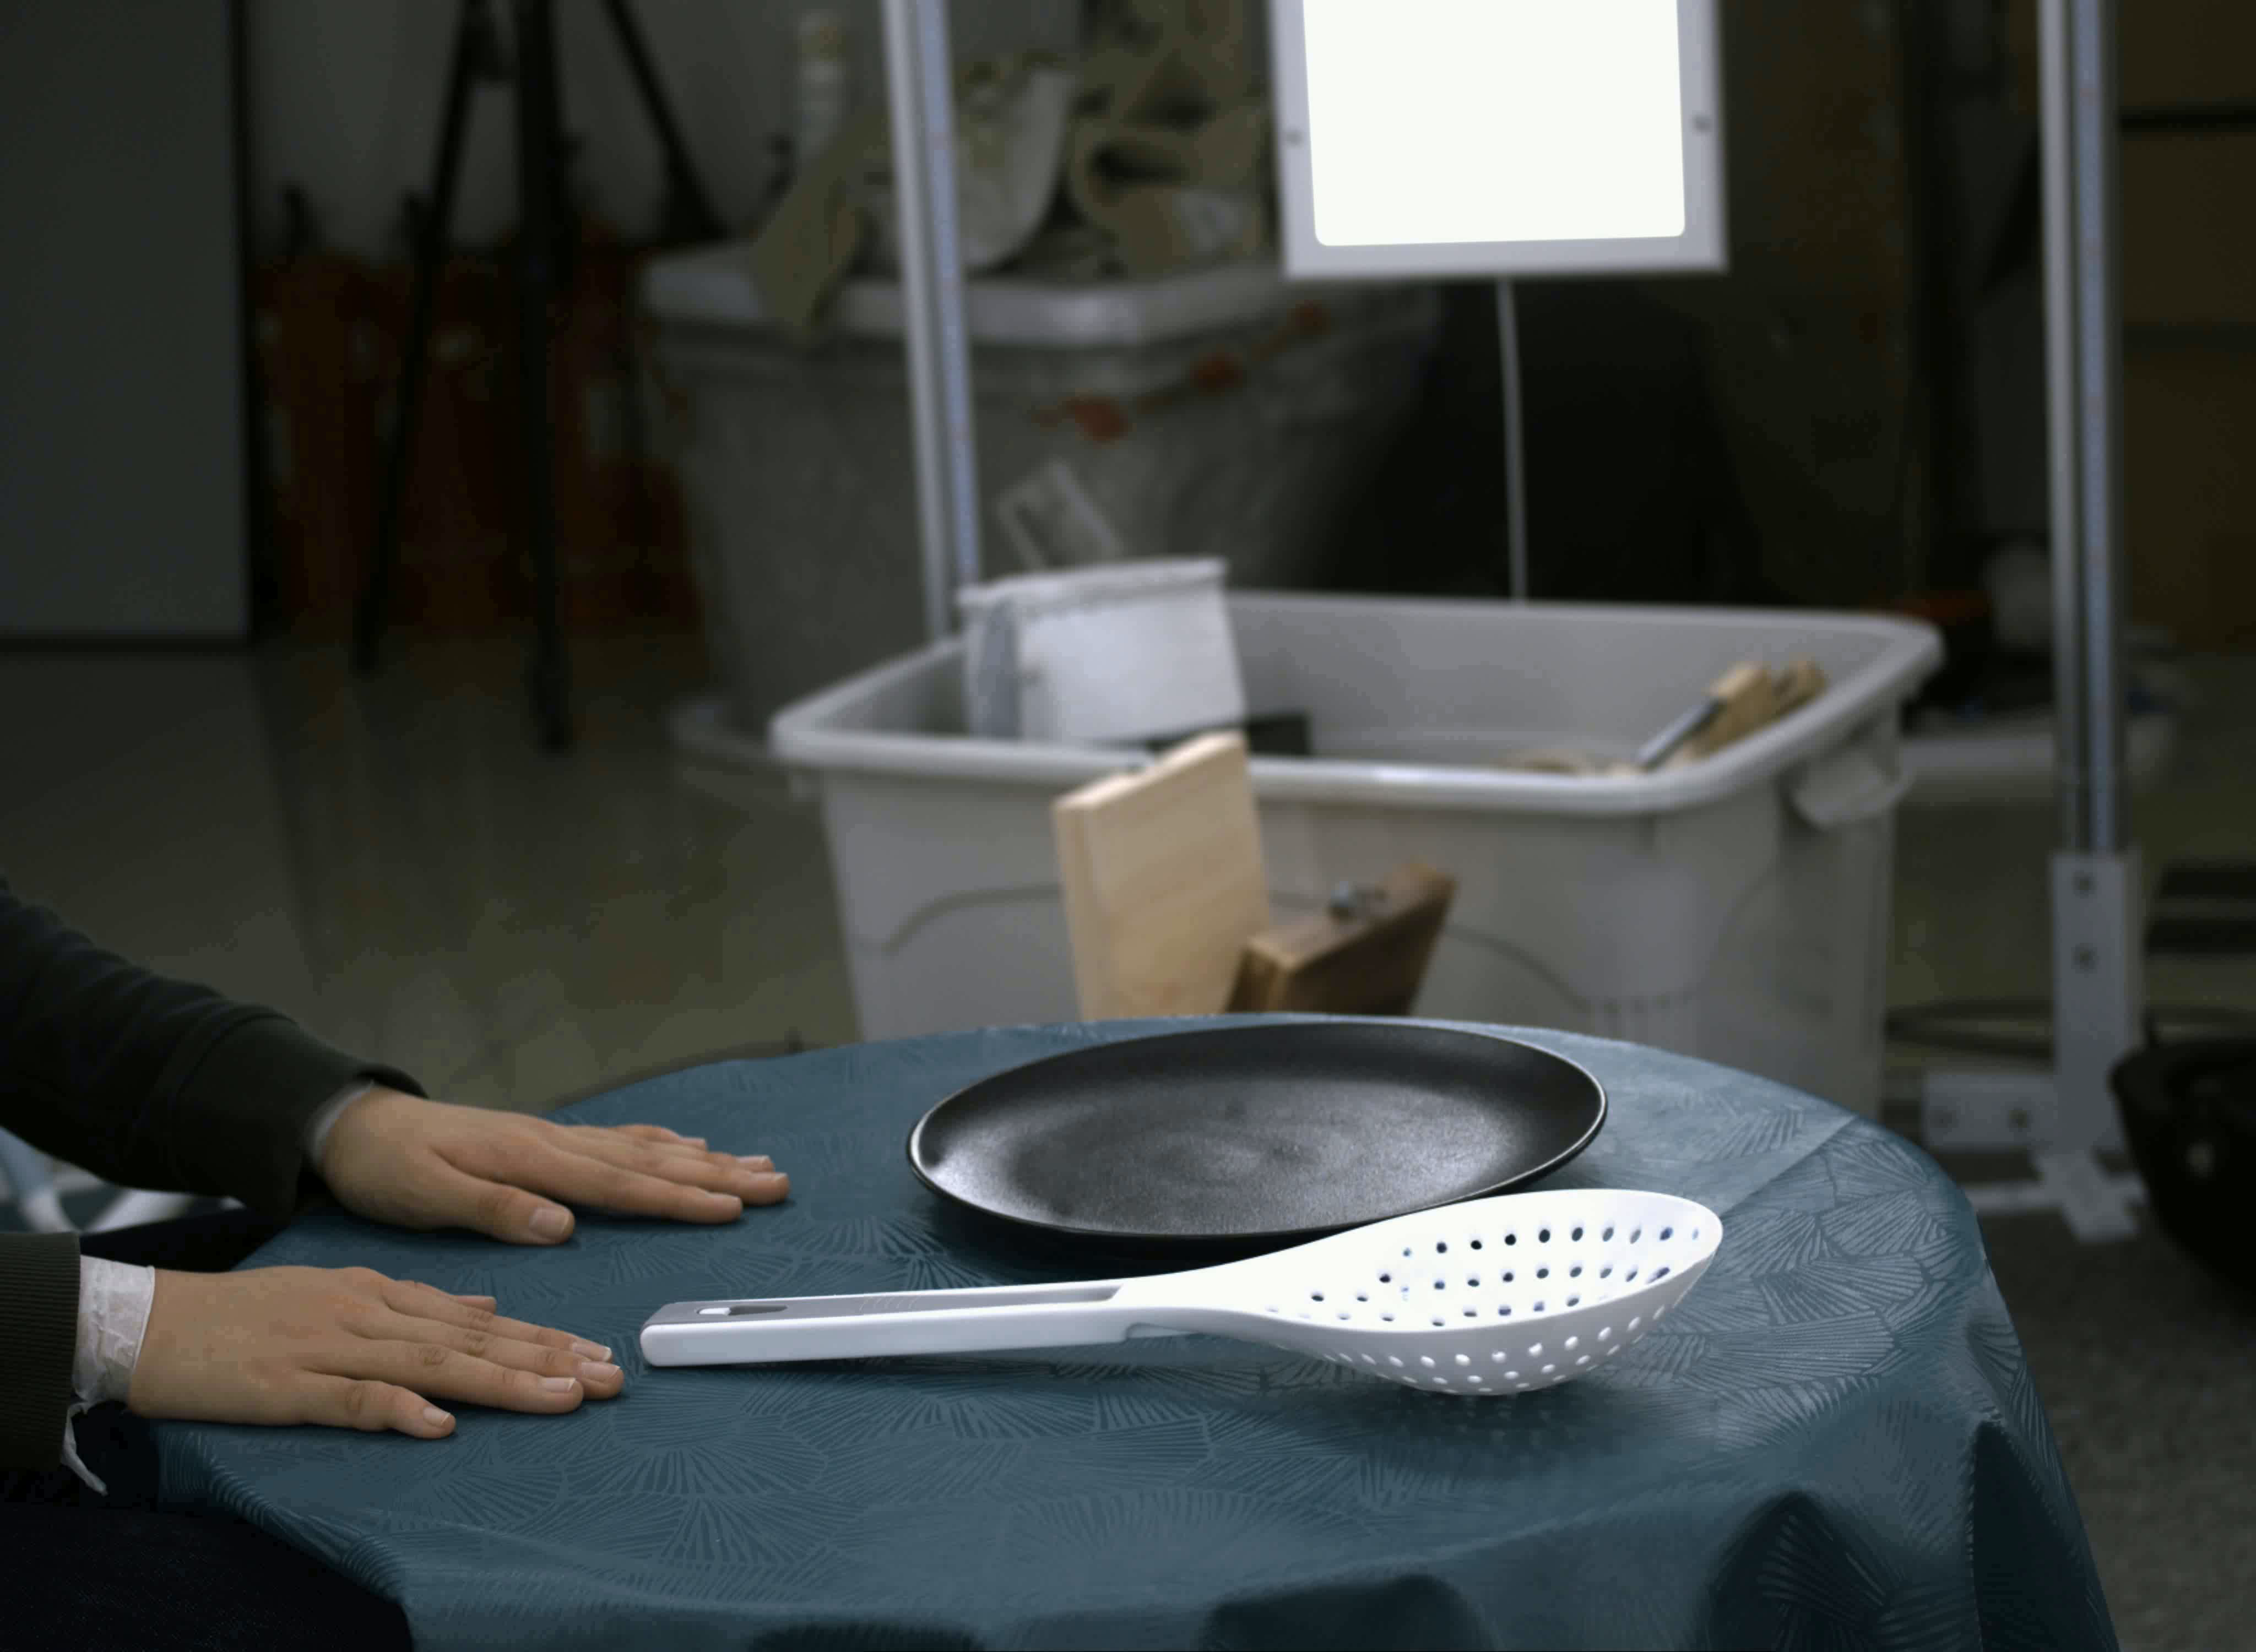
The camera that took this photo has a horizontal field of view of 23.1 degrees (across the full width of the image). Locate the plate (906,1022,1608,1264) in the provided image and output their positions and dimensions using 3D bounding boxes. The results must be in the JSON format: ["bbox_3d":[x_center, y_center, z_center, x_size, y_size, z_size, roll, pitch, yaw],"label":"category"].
[{"bbox_3d":[0.045,0.111,1.895,0.244,0.023,0.244,-5,14,0],"label":"plate"}]

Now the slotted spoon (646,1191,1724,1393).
[{"bbox_3d":[0.013,0.148,1.709,0.354,0.046,0.134,-1,12,19],"label":"slotted spoon"}]
